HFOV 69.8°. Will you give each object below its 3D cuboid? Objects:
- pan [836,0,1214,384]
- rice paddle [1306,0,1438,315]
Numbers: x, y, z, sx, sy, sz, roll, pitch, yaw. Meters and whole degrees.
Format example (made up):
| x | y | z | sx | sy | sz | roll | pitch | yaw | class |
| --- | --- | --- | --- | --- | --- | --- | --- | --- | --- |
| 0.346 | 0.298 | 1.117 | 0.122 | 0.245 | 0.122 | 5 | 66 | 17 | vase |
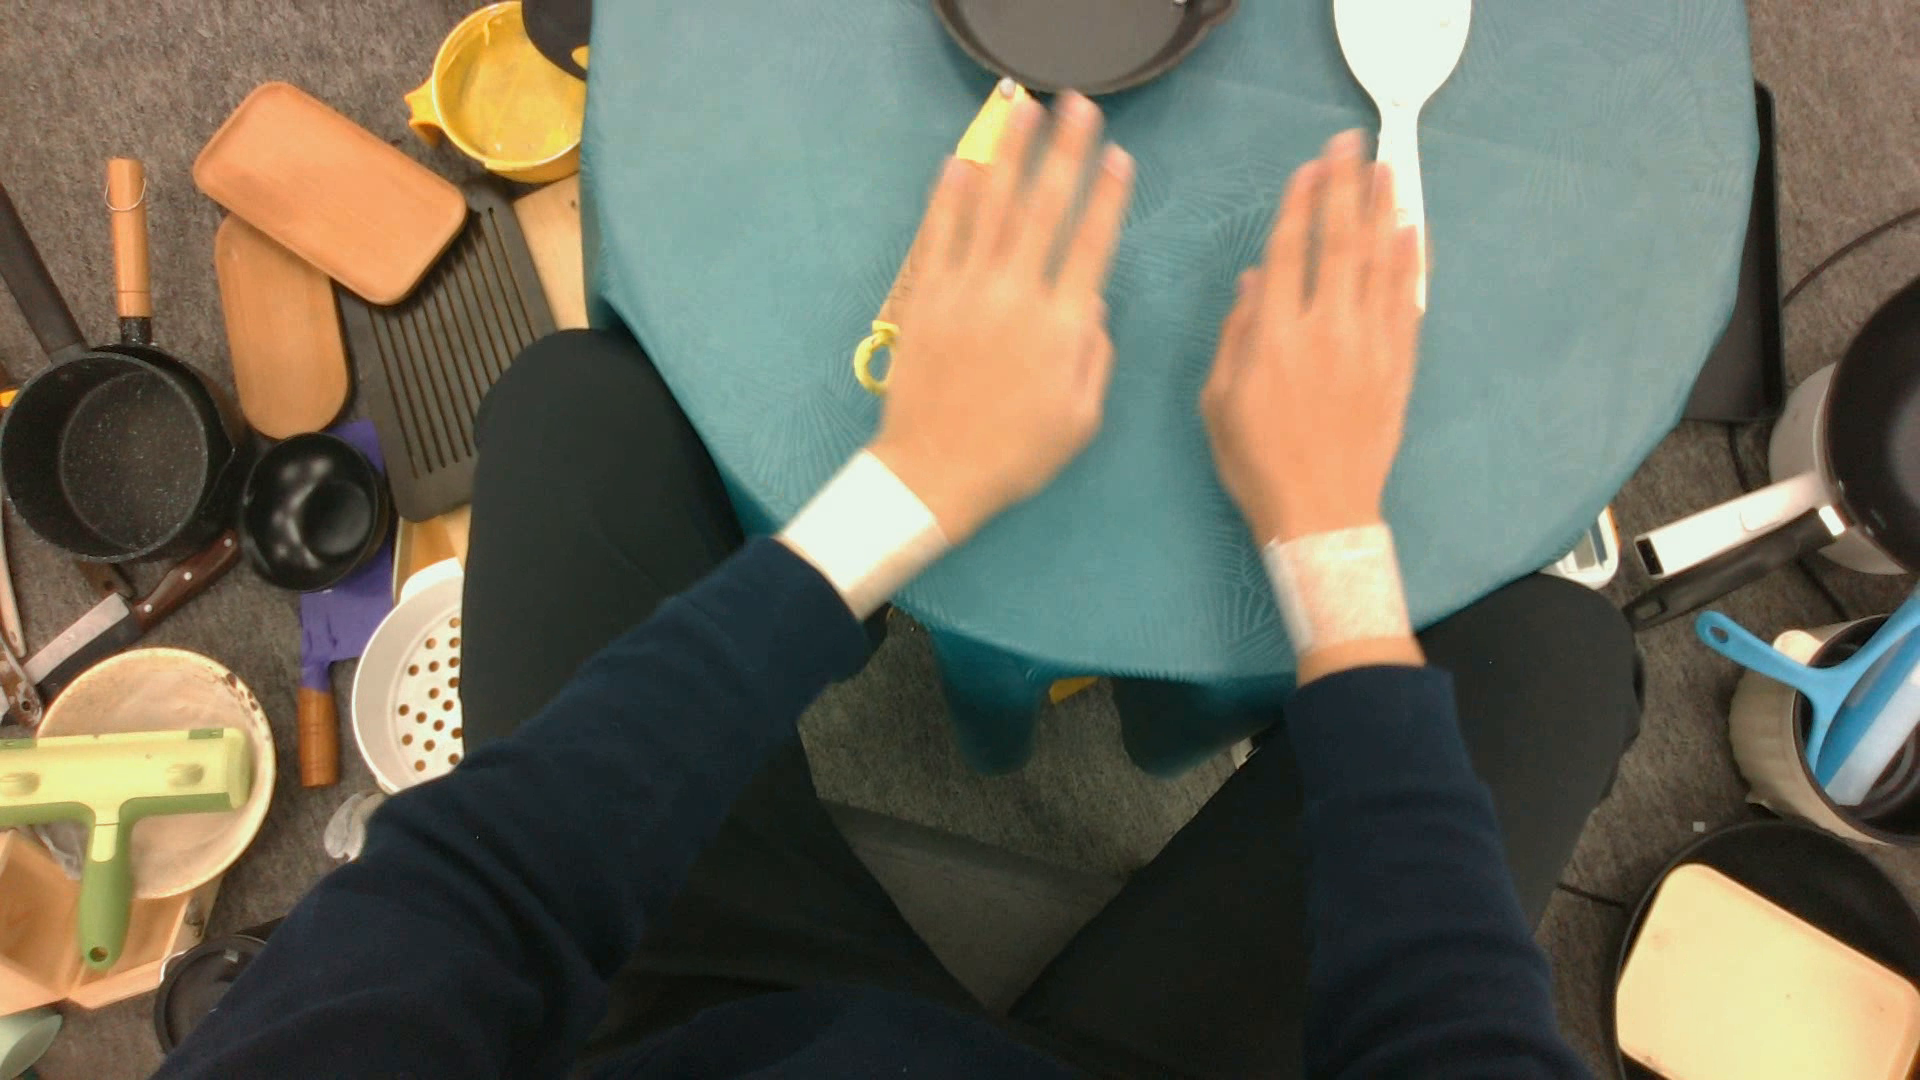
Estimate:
| x | y | z | sx | sy | sz | roll | pitch | yaw | class |
| --- | --- | --- | --- | --- | --- | --- | --- | --- | --- |
| 0.012 | -0.221 | 0.677 | 0.169 | 0.049 | 0.324 | 25 | 81 | 1 | pan |
| 0.207 | -0.216 | 0.693 | 0.069 | 0.029 | 0.205 | 3 | 83 | -3 | rice paddle |
